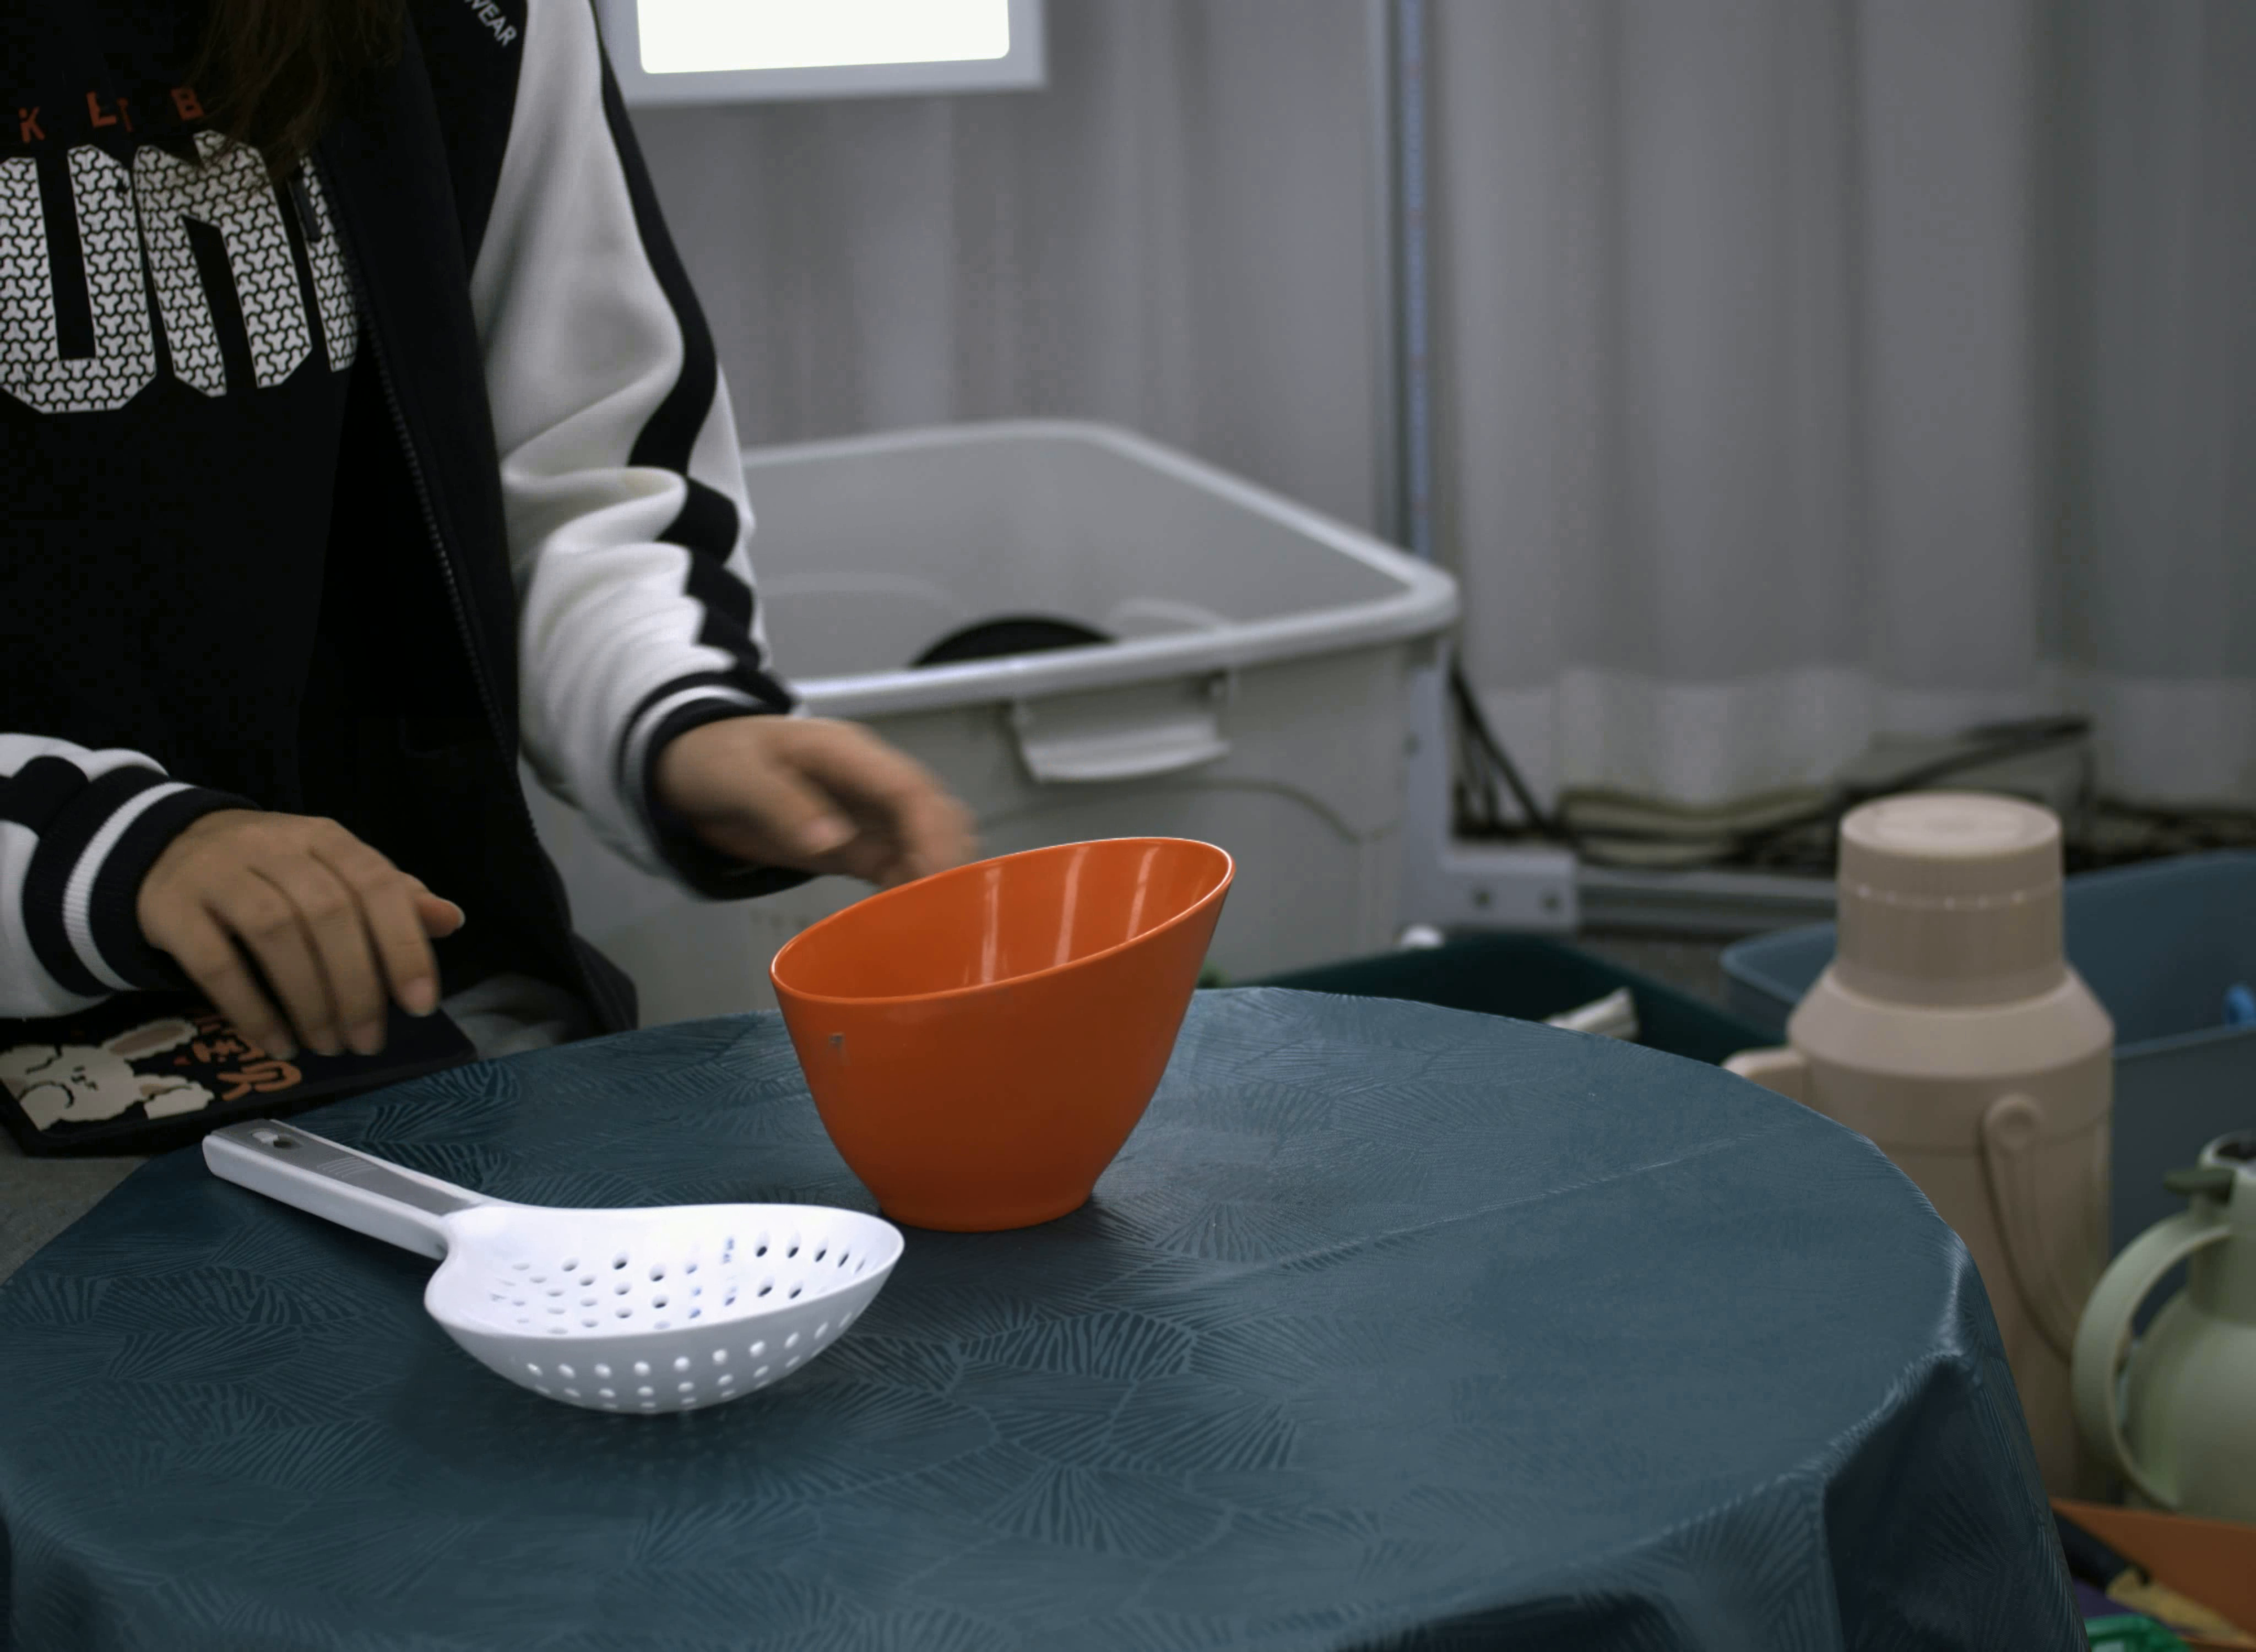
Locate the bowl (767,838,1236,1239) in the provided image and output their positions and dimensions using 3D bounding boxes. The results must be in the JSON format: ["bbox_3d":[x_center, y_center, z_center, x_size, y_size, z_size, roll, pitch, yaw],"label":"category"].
[{"bbox_3d":[-0.037,0.069,1.702,0.147,0.104,0.149,-4,17,1],"label":"bowl"}]

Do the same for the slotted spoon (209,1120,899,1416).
[{"bbox_3d":[-0.192,0.122,1.637,0.135,0.045,0.352,-12,17,-32],"label":"slotted spoon"}]
